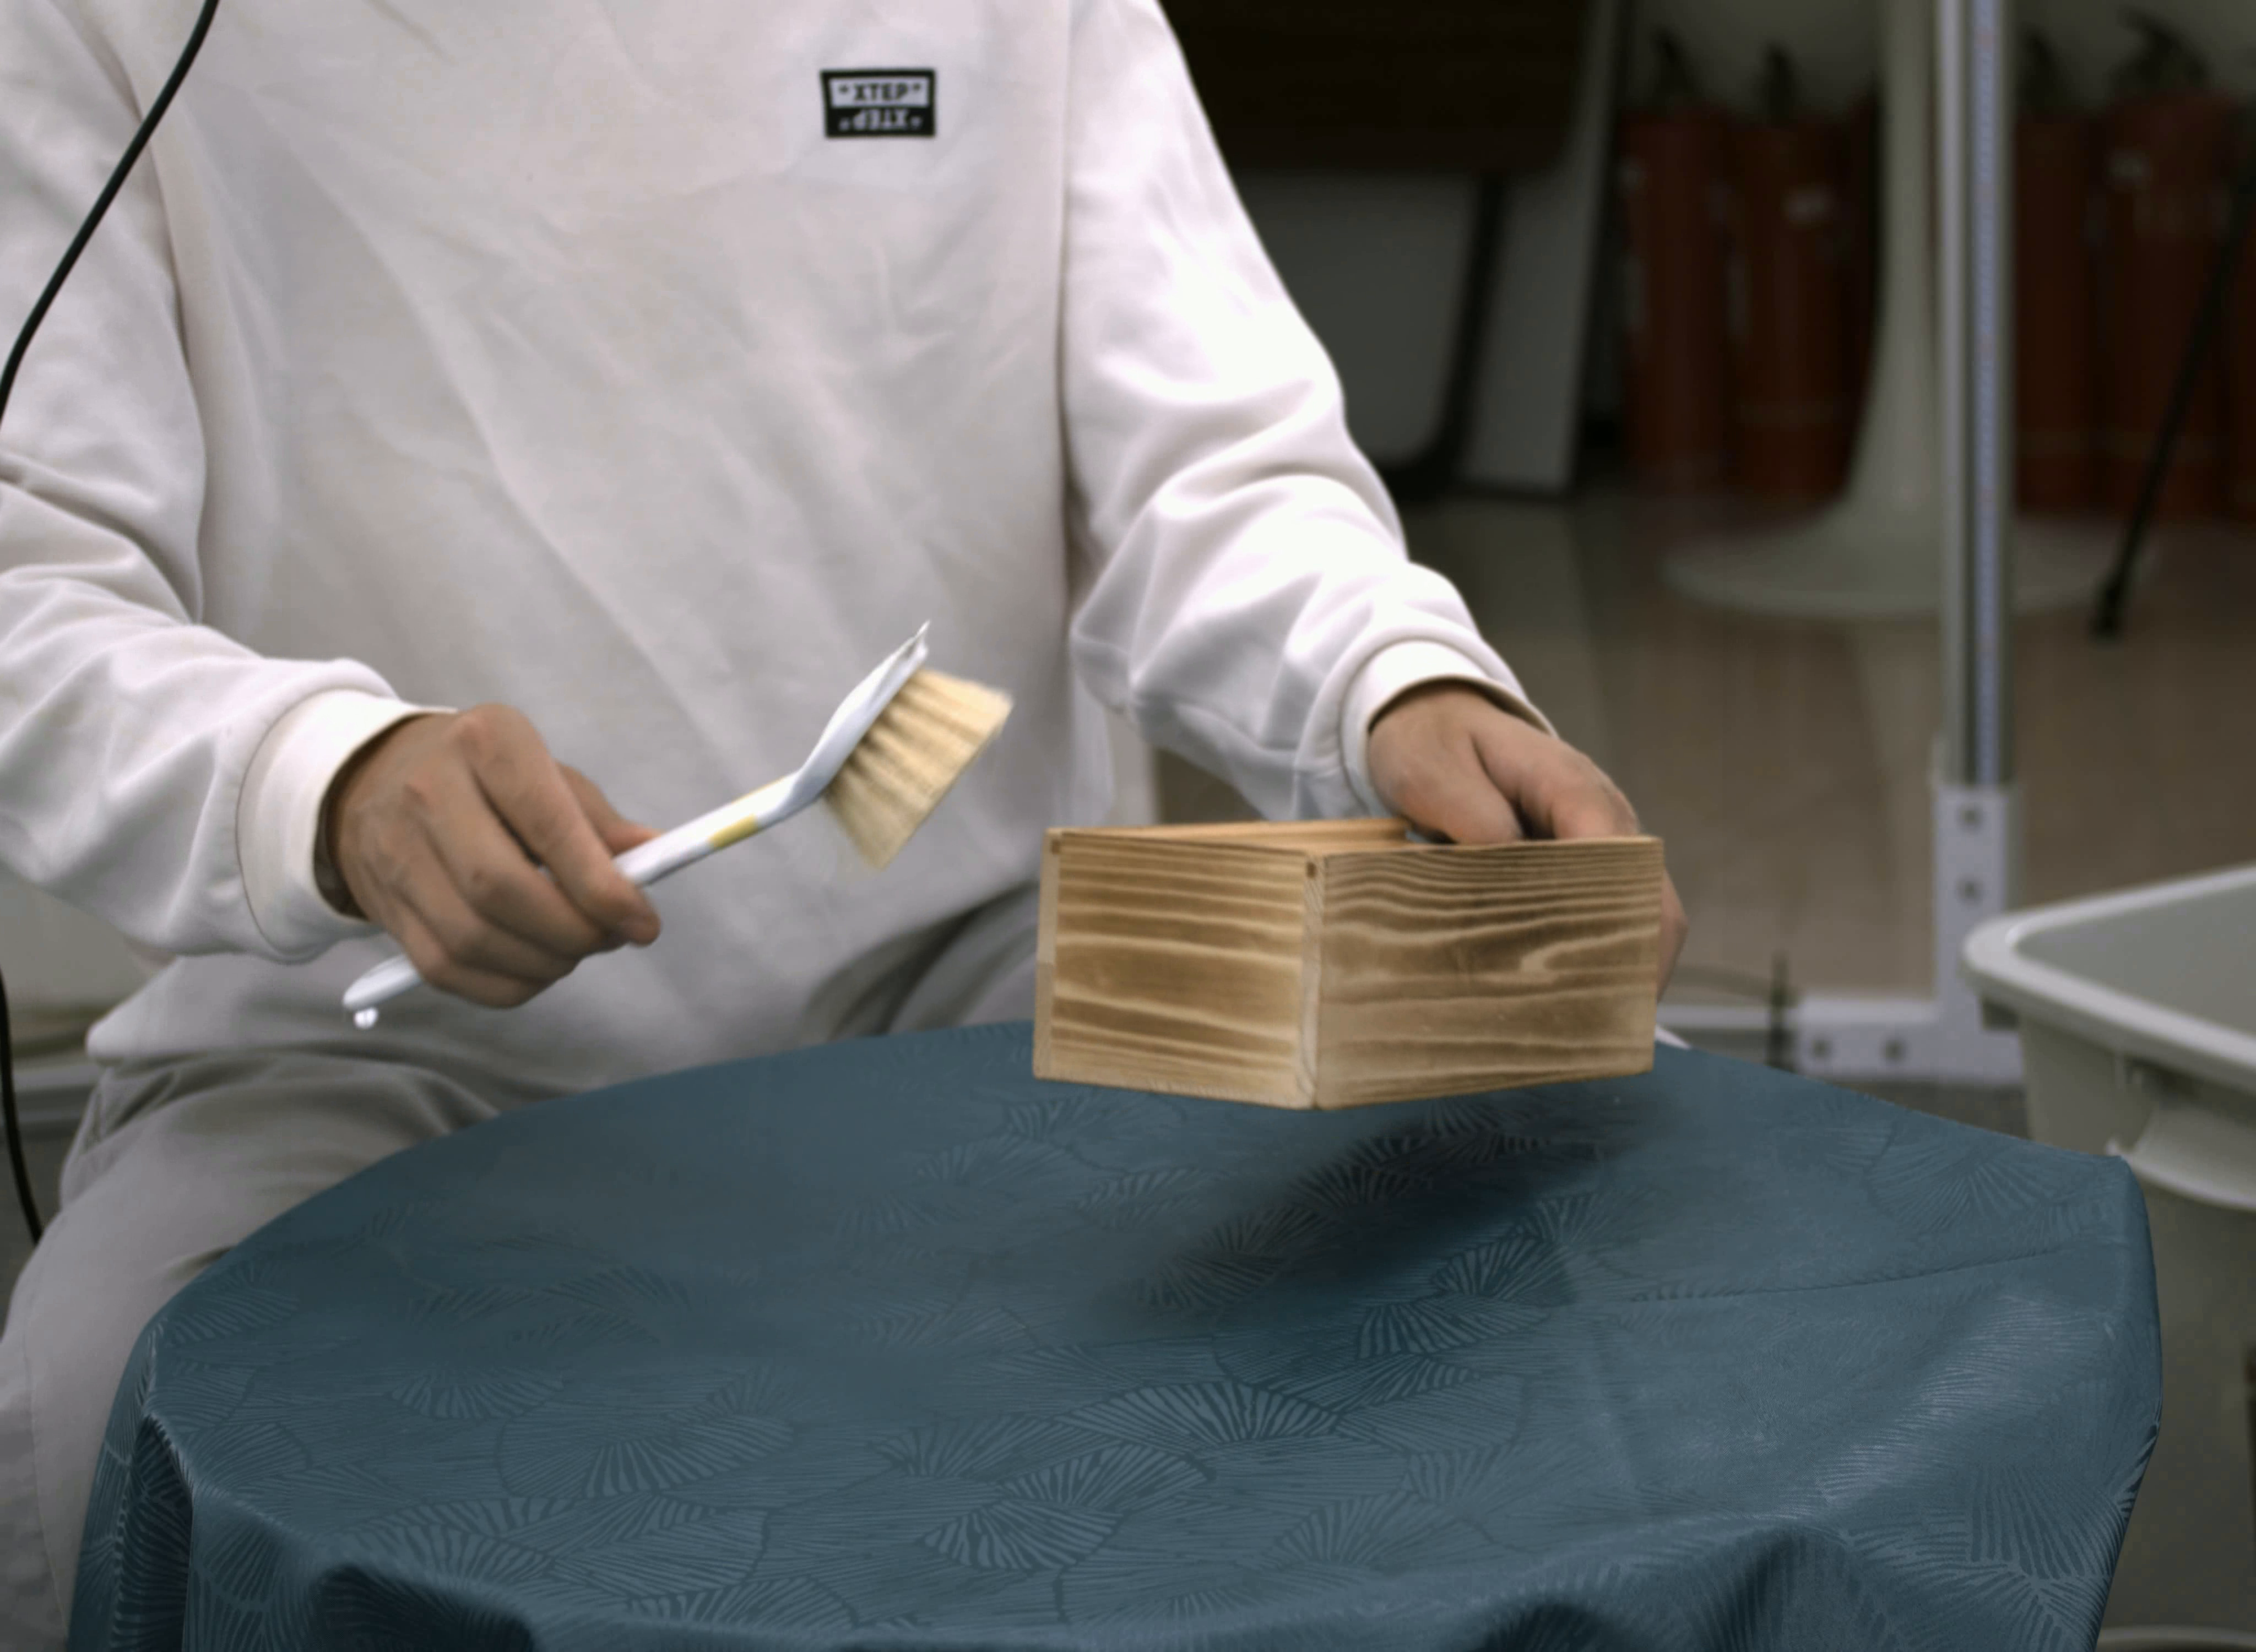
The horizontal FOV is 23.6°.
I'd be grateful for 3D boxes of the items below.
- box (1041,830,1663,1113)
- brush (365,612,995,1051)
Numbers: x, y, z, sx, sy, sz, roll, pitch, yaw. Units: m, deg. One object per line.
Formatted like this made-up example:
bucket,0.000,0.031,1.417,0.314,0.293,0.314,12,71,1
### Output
box,0.075,0.044,1.723,0.108,0.081,0.207,3,2,34
brush,-0.141,0.023,1.698,0.268,0.056,0.067,-37,-7,33
